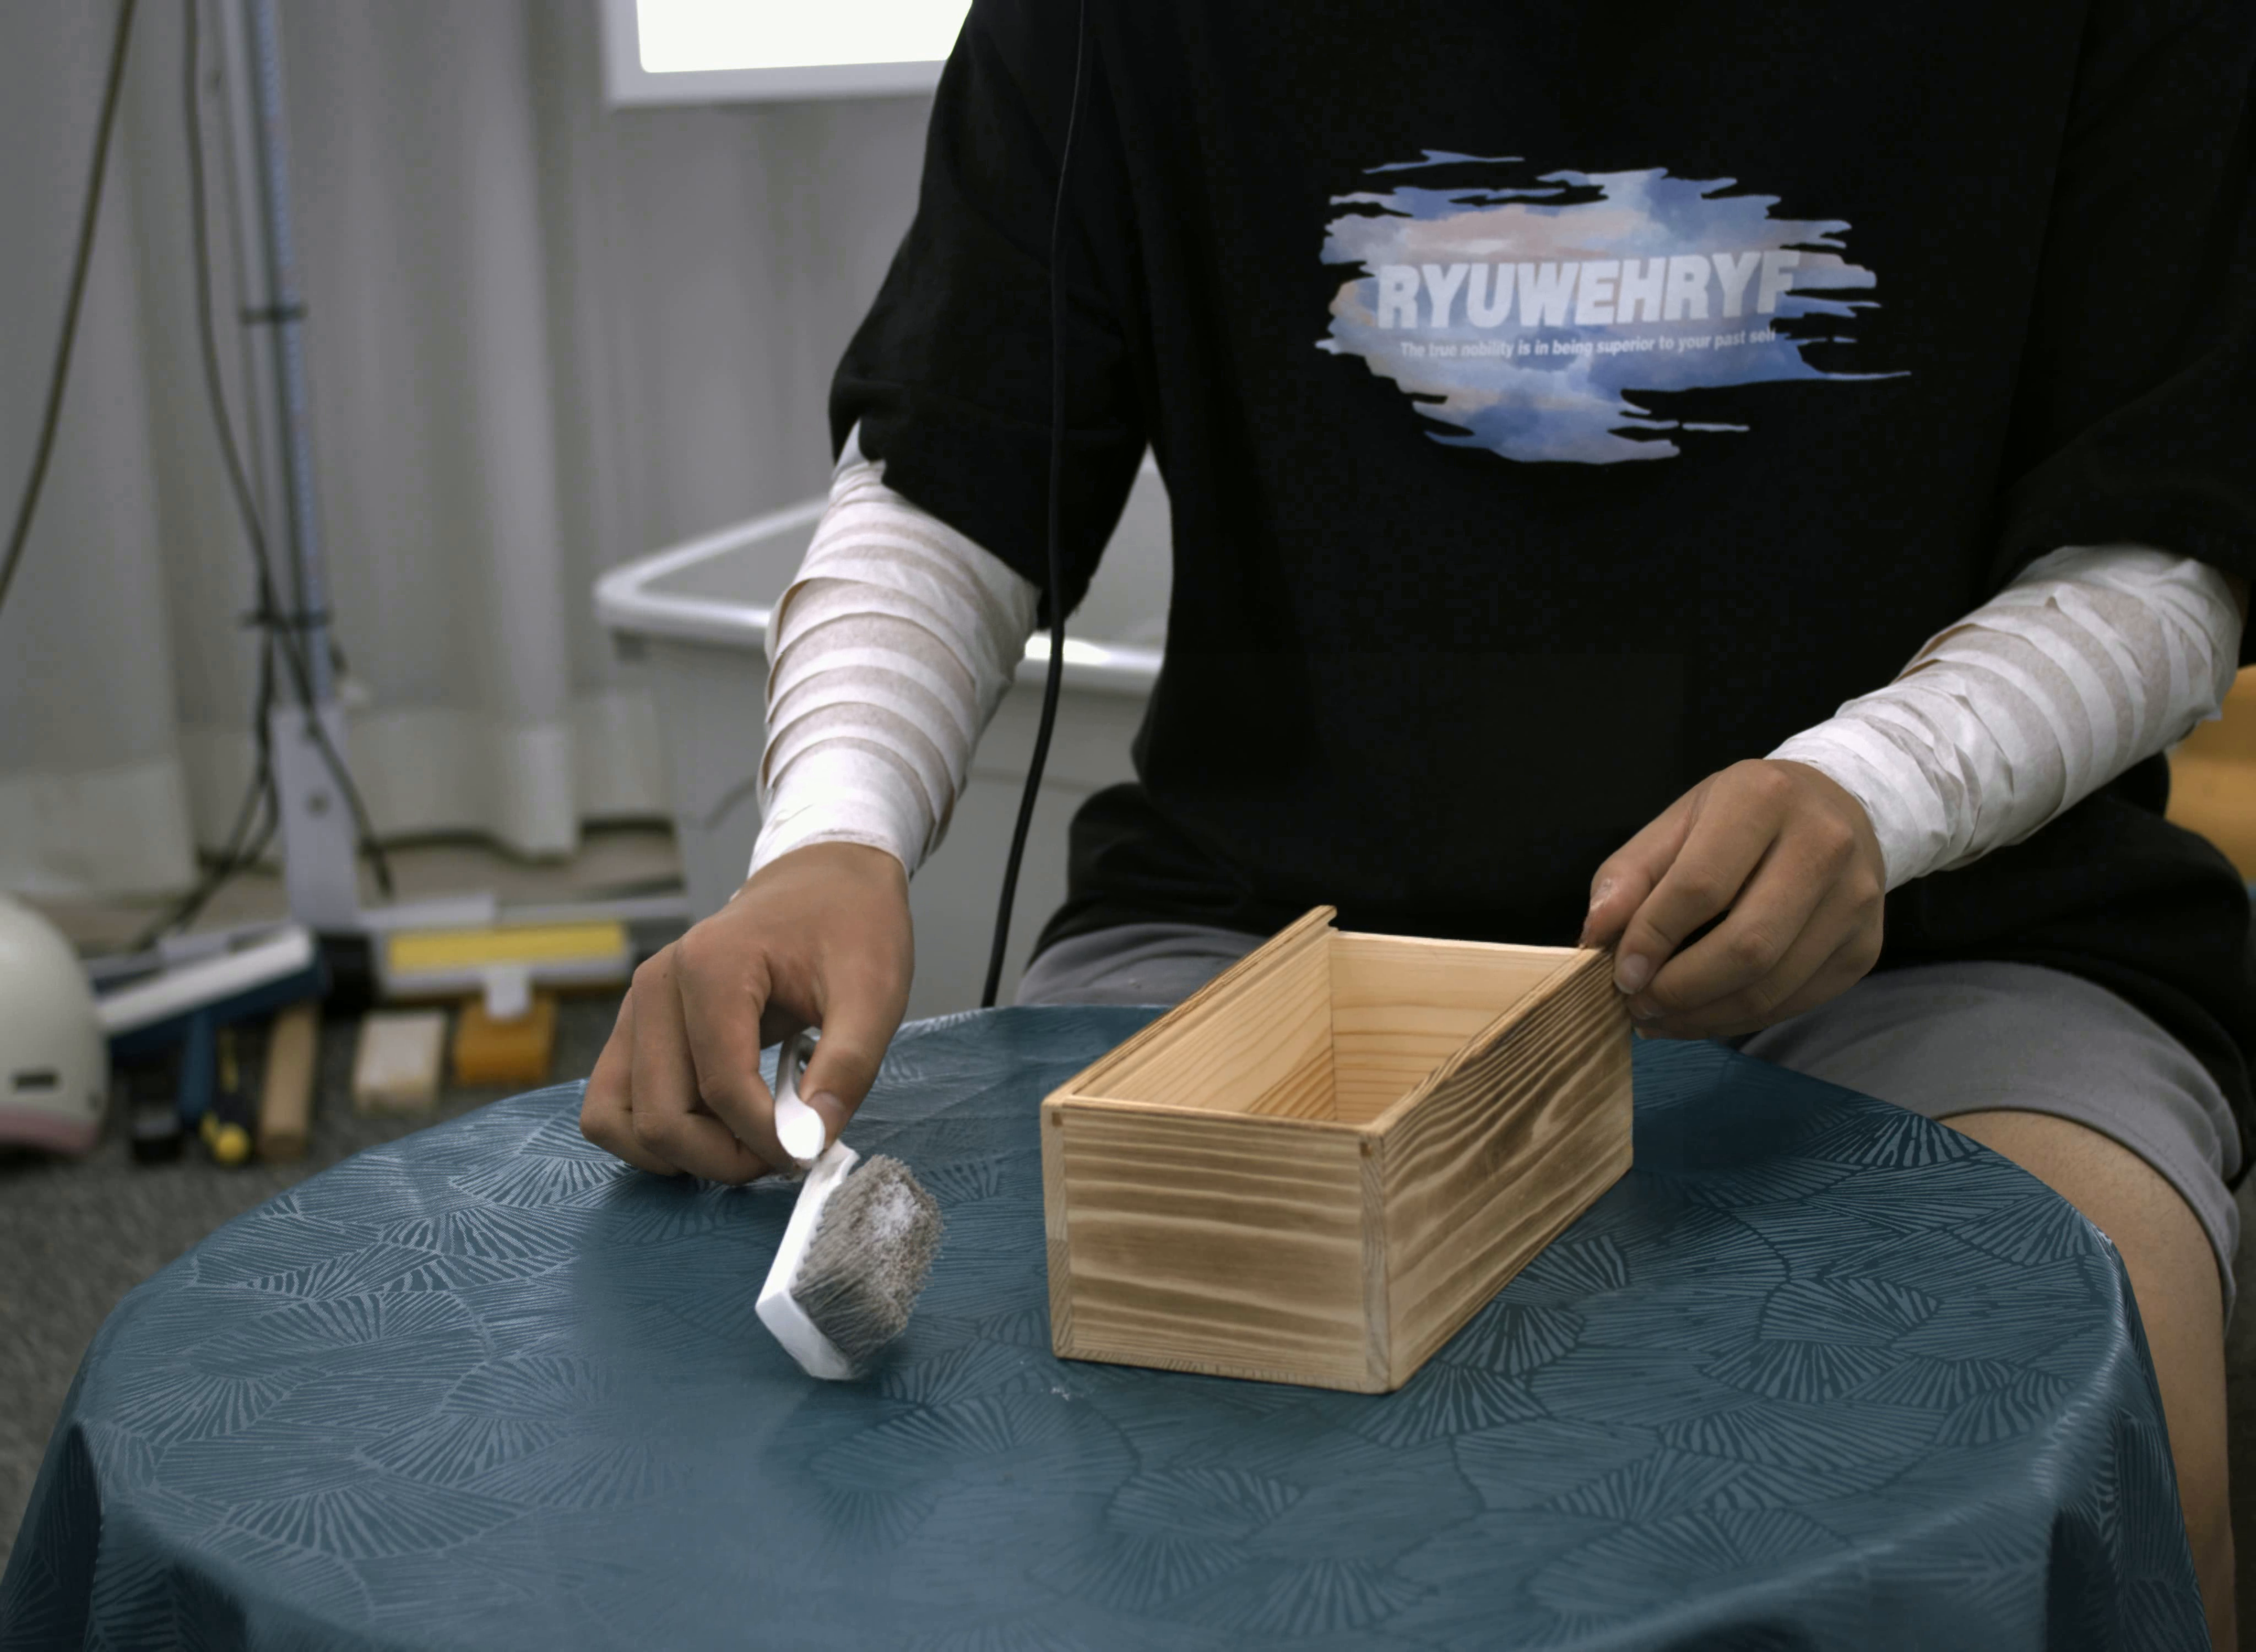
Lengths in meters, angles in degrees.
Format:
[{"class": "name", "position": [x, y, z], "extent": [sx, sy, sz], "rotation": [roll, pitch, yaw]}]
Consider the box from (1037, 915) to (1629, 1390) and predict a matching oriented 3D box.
[{"class": "box", "position": [0.065, 0.093, 1.629], "extent": [0.107, 0.080, 0.212], "rotation": [3, 15, 23]}]

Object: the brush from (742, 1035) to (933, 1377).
[{"class": "brush", "position": [-0.083, 0.100, 1.657], "extent": [0.050, 0.034, 0.245], "rotation": [-38, 14, 11]}]
